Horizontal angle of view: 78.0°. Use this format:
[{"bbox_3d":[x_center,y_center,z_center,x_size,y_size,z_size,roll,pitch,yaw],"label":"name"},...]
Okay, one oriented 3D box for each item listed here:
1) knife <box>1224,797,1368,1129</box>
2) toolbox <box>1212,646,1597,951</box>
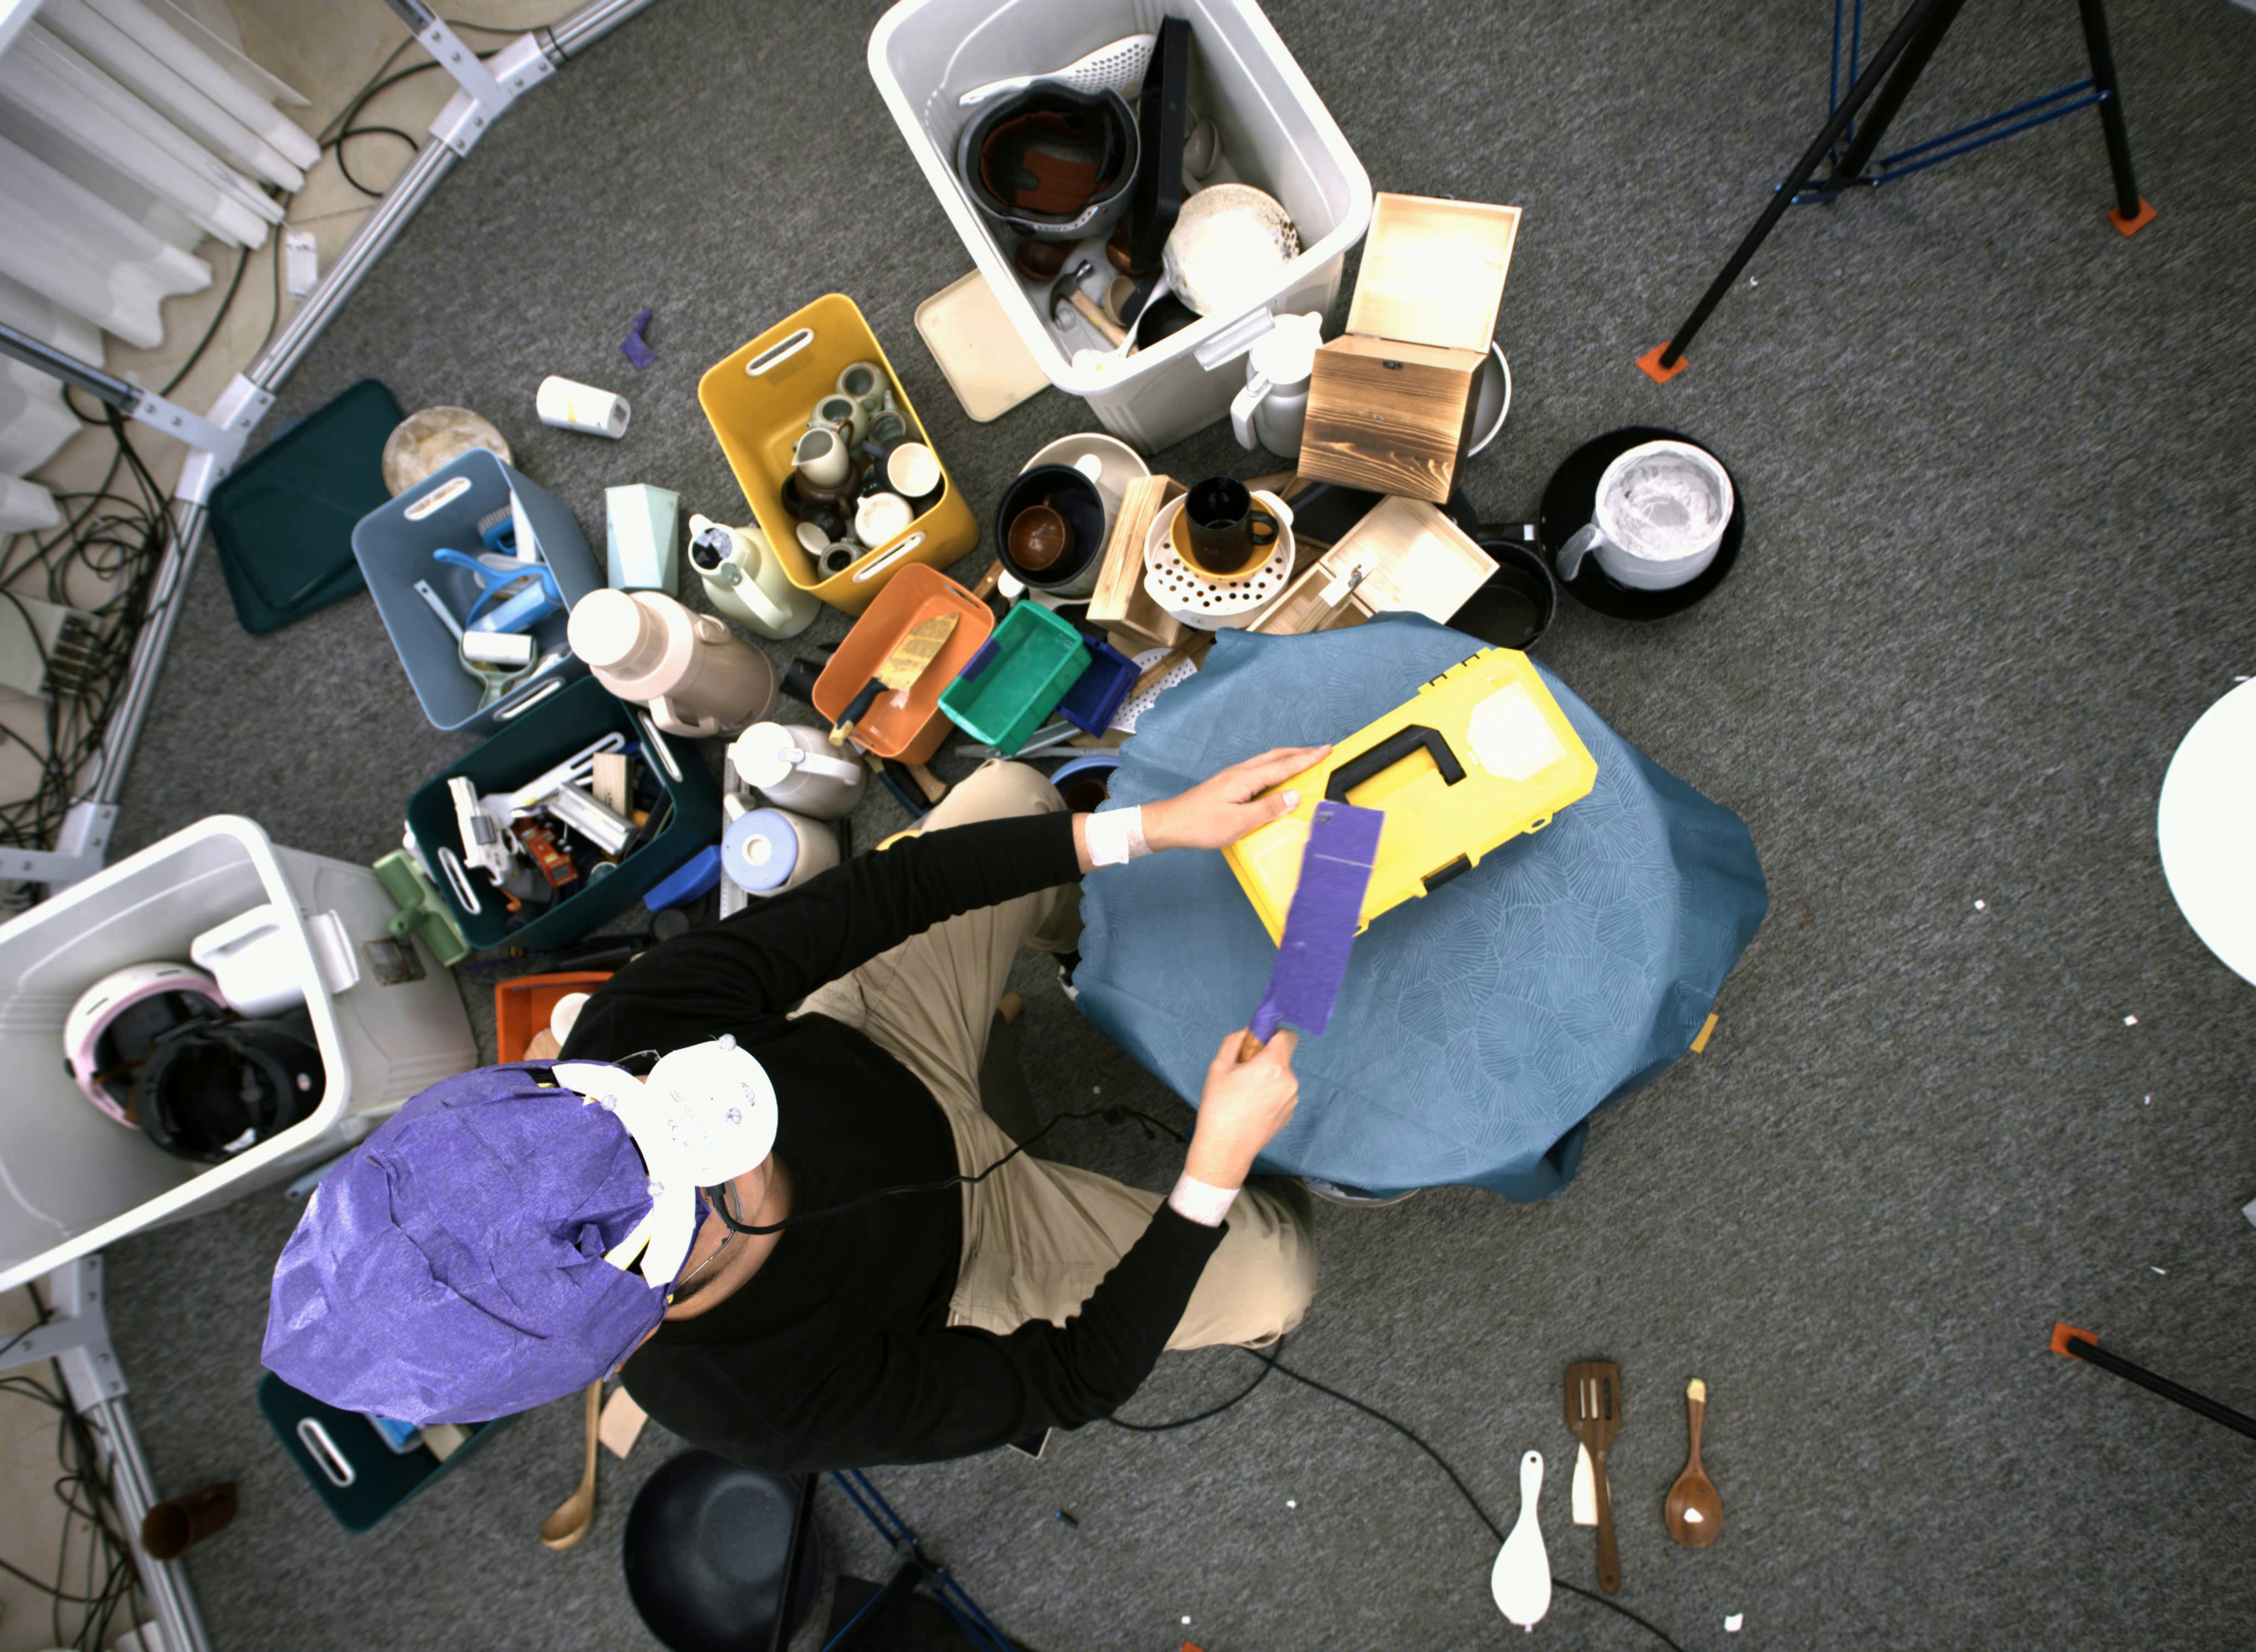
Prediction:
[{"bbox_3d":[0.153,0.128,1.258,0.032,0.104,0.316,11,93,-34],"label":"knife"},{"bbox_3d":[0.273,-0.017,1.377,0.353,0.173,0.180,-31,80,8],"label":"toolbox"}]
